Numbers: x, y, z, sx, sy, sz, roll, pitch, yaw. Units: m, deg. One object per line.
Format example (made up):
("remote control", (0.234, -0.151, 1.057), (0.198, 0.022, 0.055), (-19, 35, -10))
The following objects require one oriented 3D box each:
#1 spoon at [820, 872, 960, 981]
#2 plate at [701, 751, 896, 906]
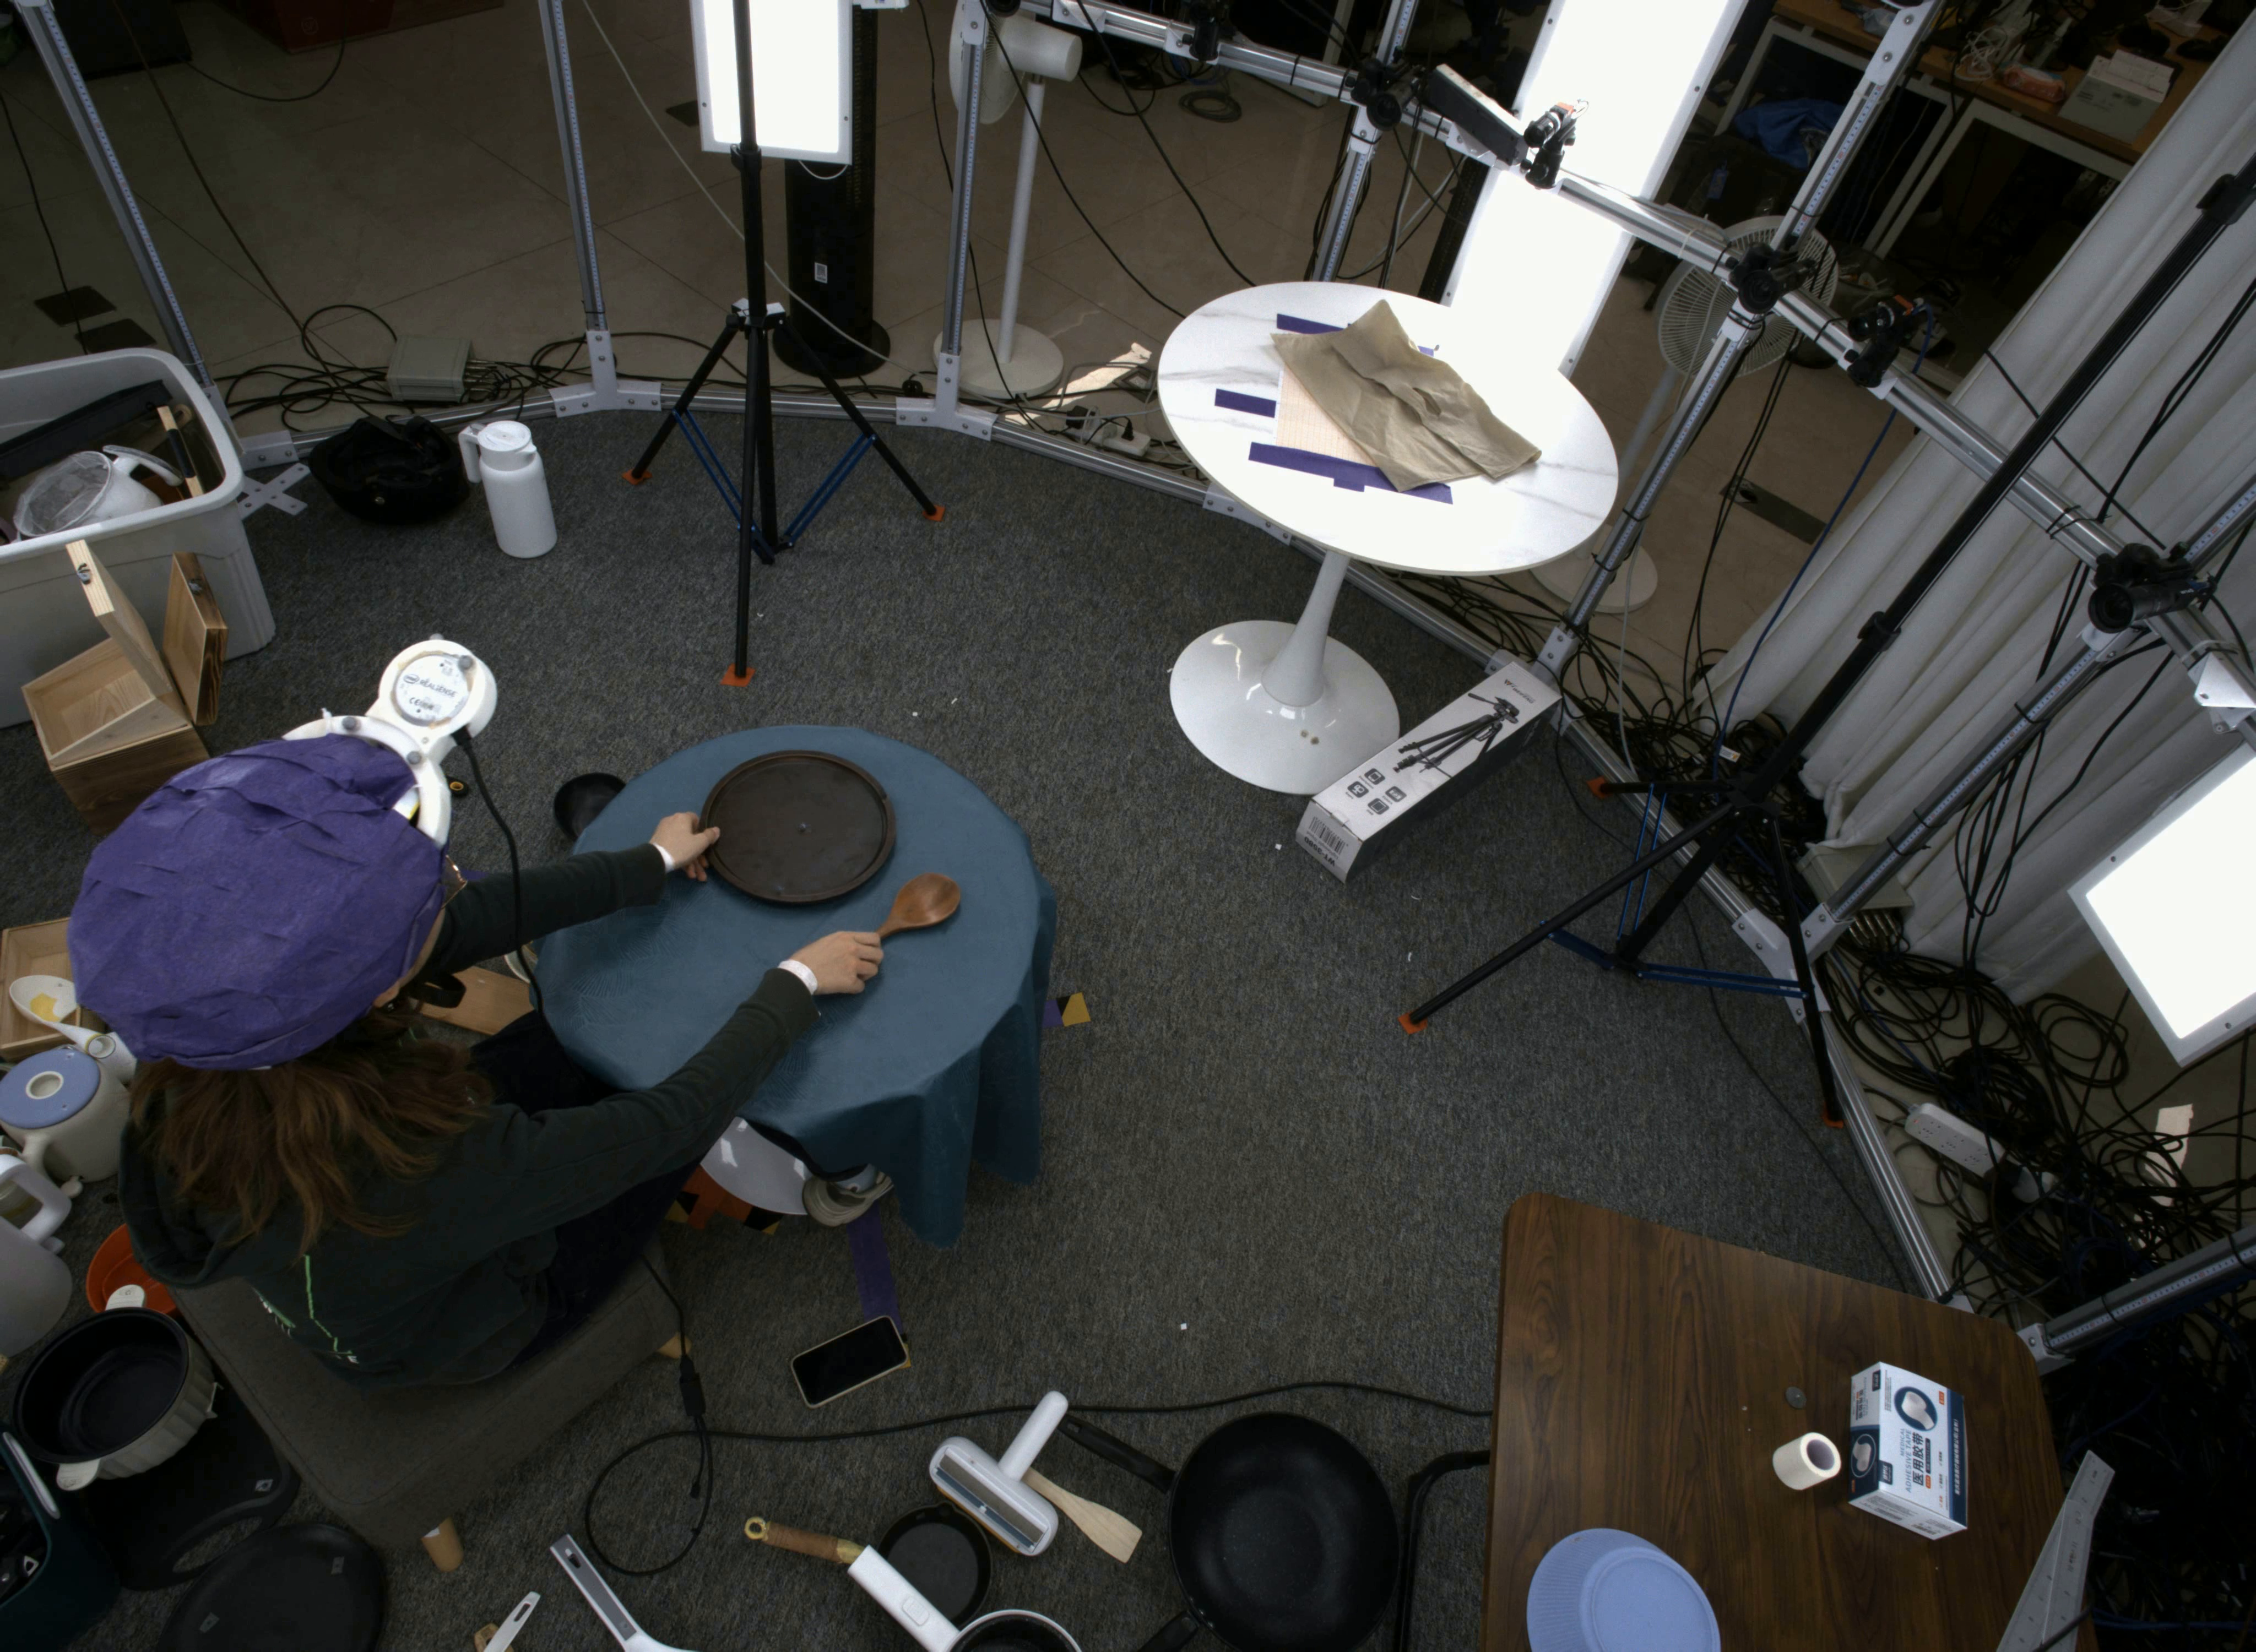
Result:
("spoon", (-0.303, 0.127, 1.654), (0.074, 0.017, 0.216), (42, 55, 16))
("plate", (-0.434, 0.001, 1.711), (0.254, 0.029, 0.250), (8, 51, -9))
